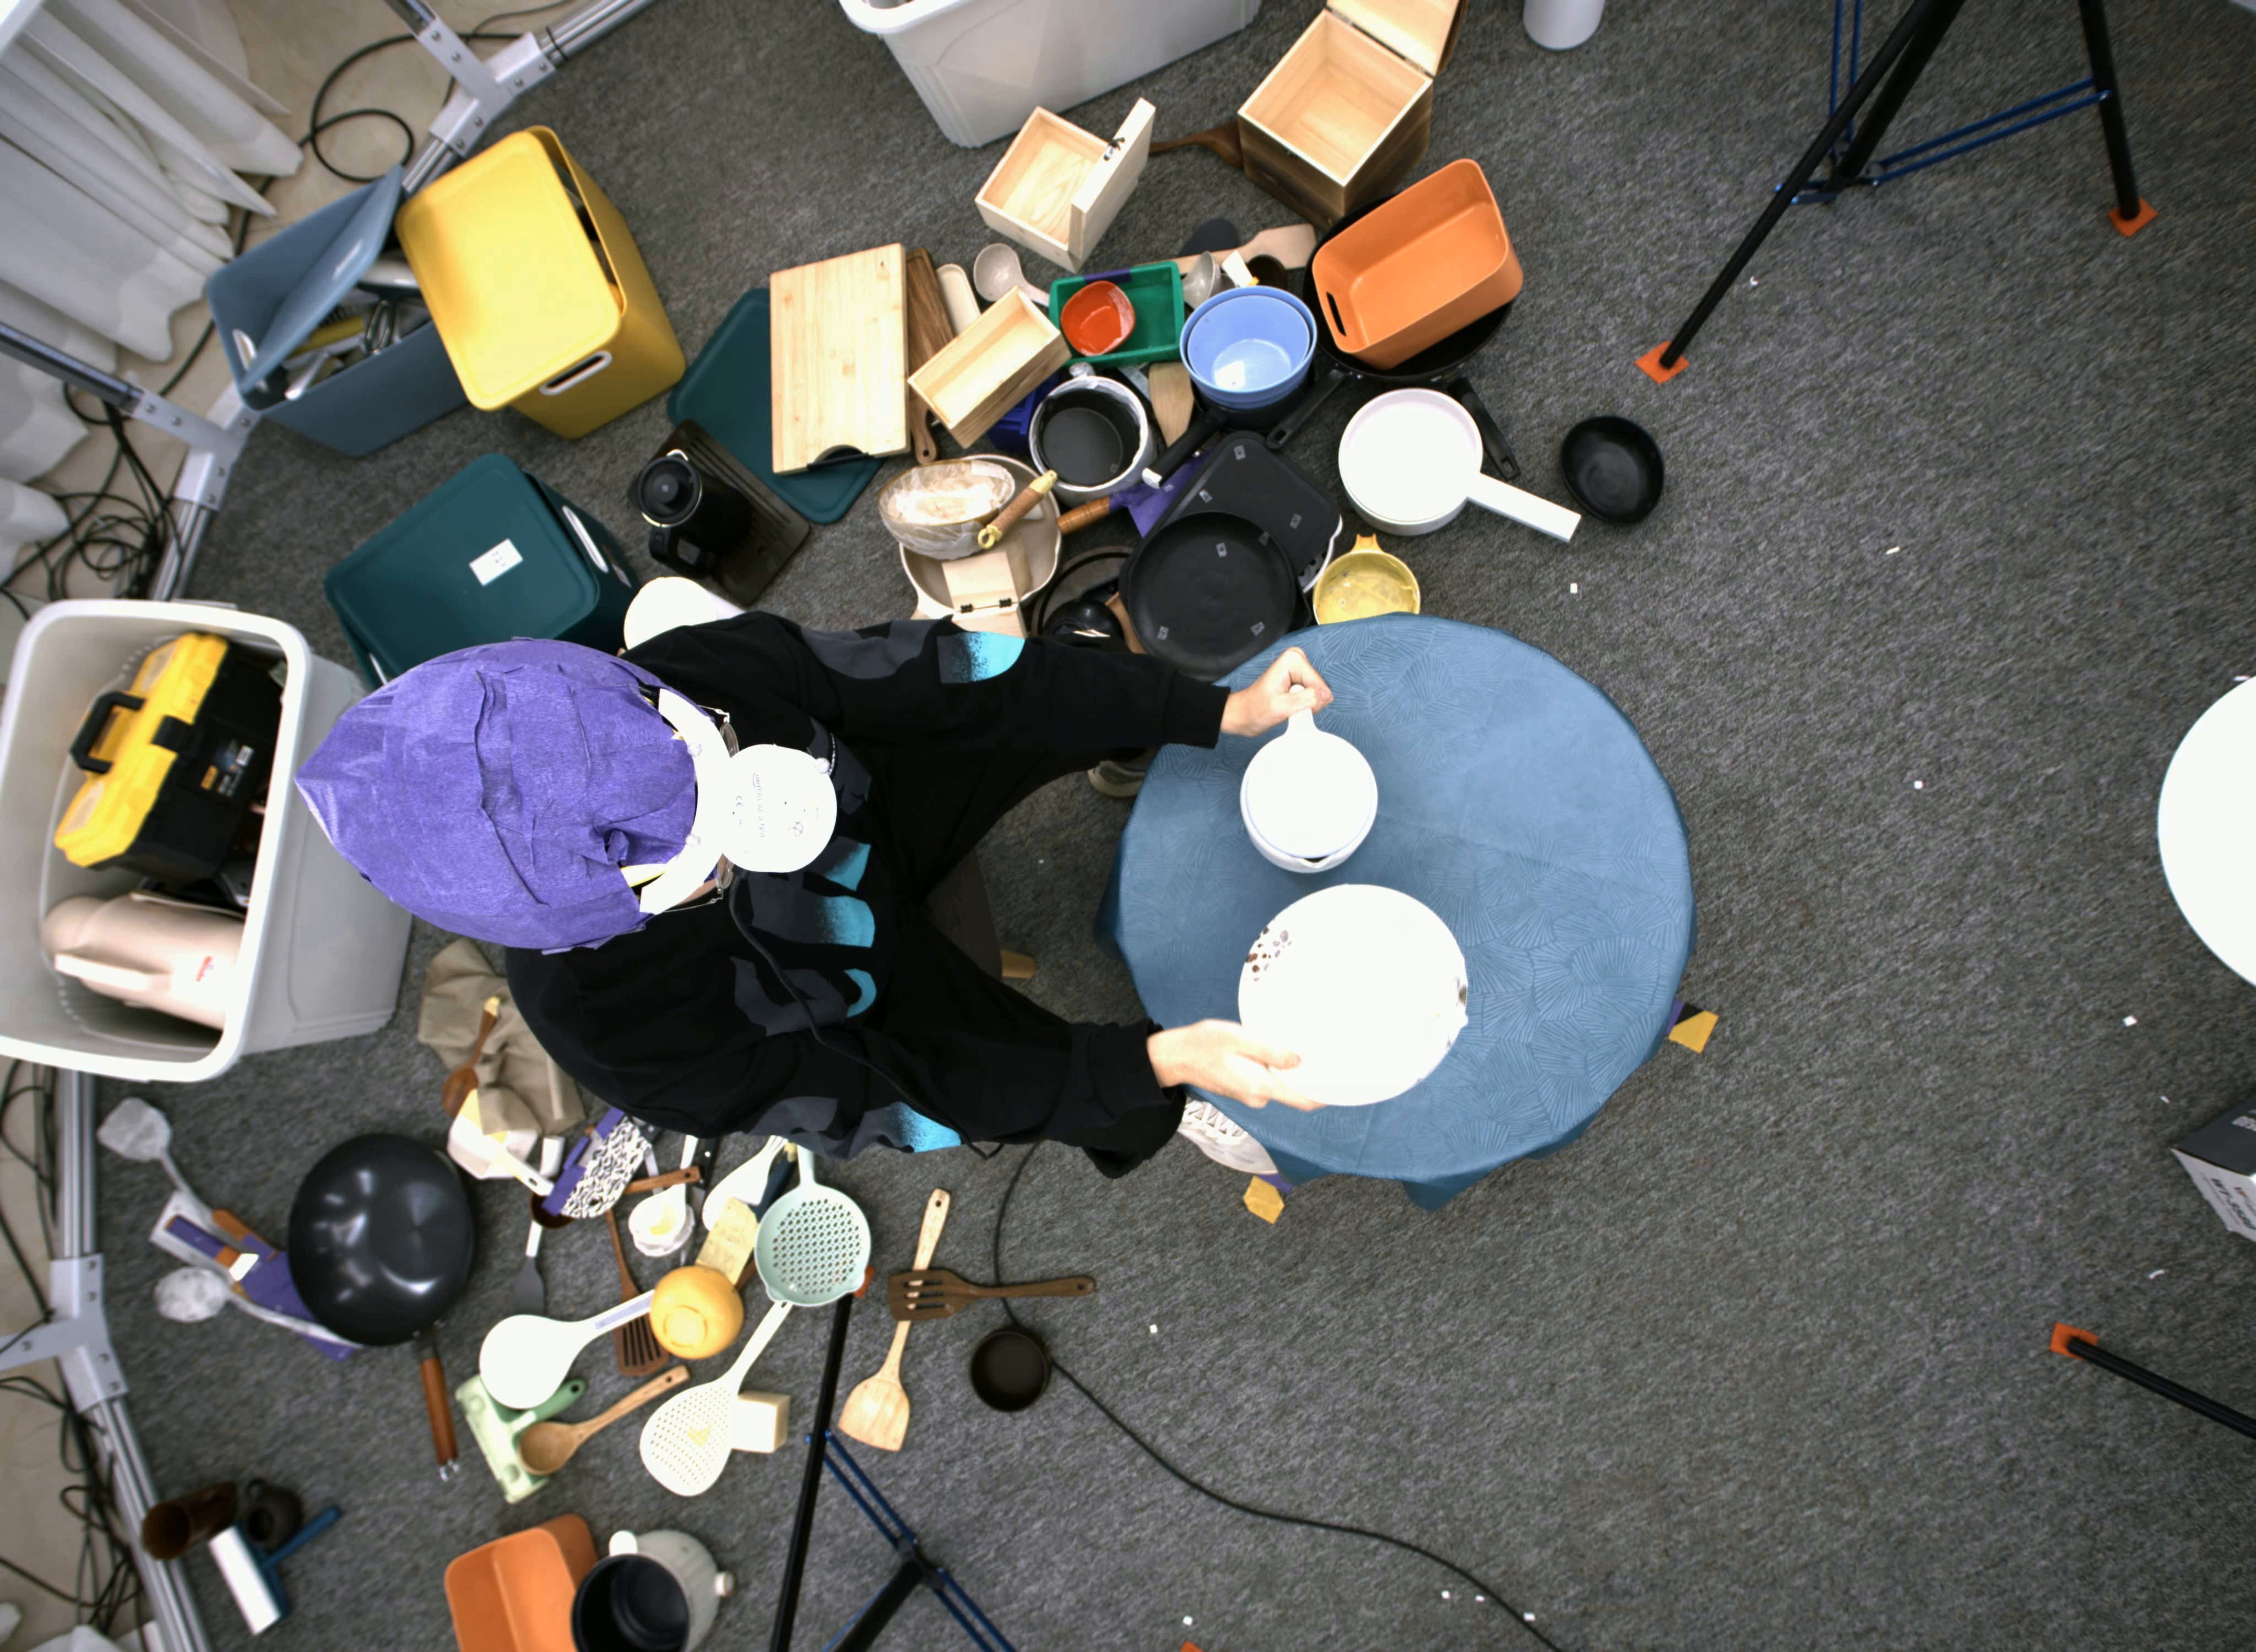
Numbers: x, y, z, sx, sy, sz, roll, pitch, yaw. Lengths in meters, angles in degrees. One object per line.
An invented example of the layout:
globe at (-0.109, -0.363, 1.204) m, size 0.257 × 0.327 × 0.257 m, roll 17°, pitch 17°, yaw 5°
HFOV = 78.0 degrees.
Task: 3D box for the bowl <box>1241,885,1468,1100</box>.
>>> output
bowl at (0.209, 0.158, 1.241) m, size 0.206 × 0.079 × 0.199 m, roll -12°, pitch 58°, yaw 20°

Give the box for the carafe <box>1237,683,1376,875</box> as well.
carafe at (0.172, -0.047, 1.362) m, size 0.132 × 0.183 × 0.190 m, roll -8°, pitch 84°, yaw 5°
